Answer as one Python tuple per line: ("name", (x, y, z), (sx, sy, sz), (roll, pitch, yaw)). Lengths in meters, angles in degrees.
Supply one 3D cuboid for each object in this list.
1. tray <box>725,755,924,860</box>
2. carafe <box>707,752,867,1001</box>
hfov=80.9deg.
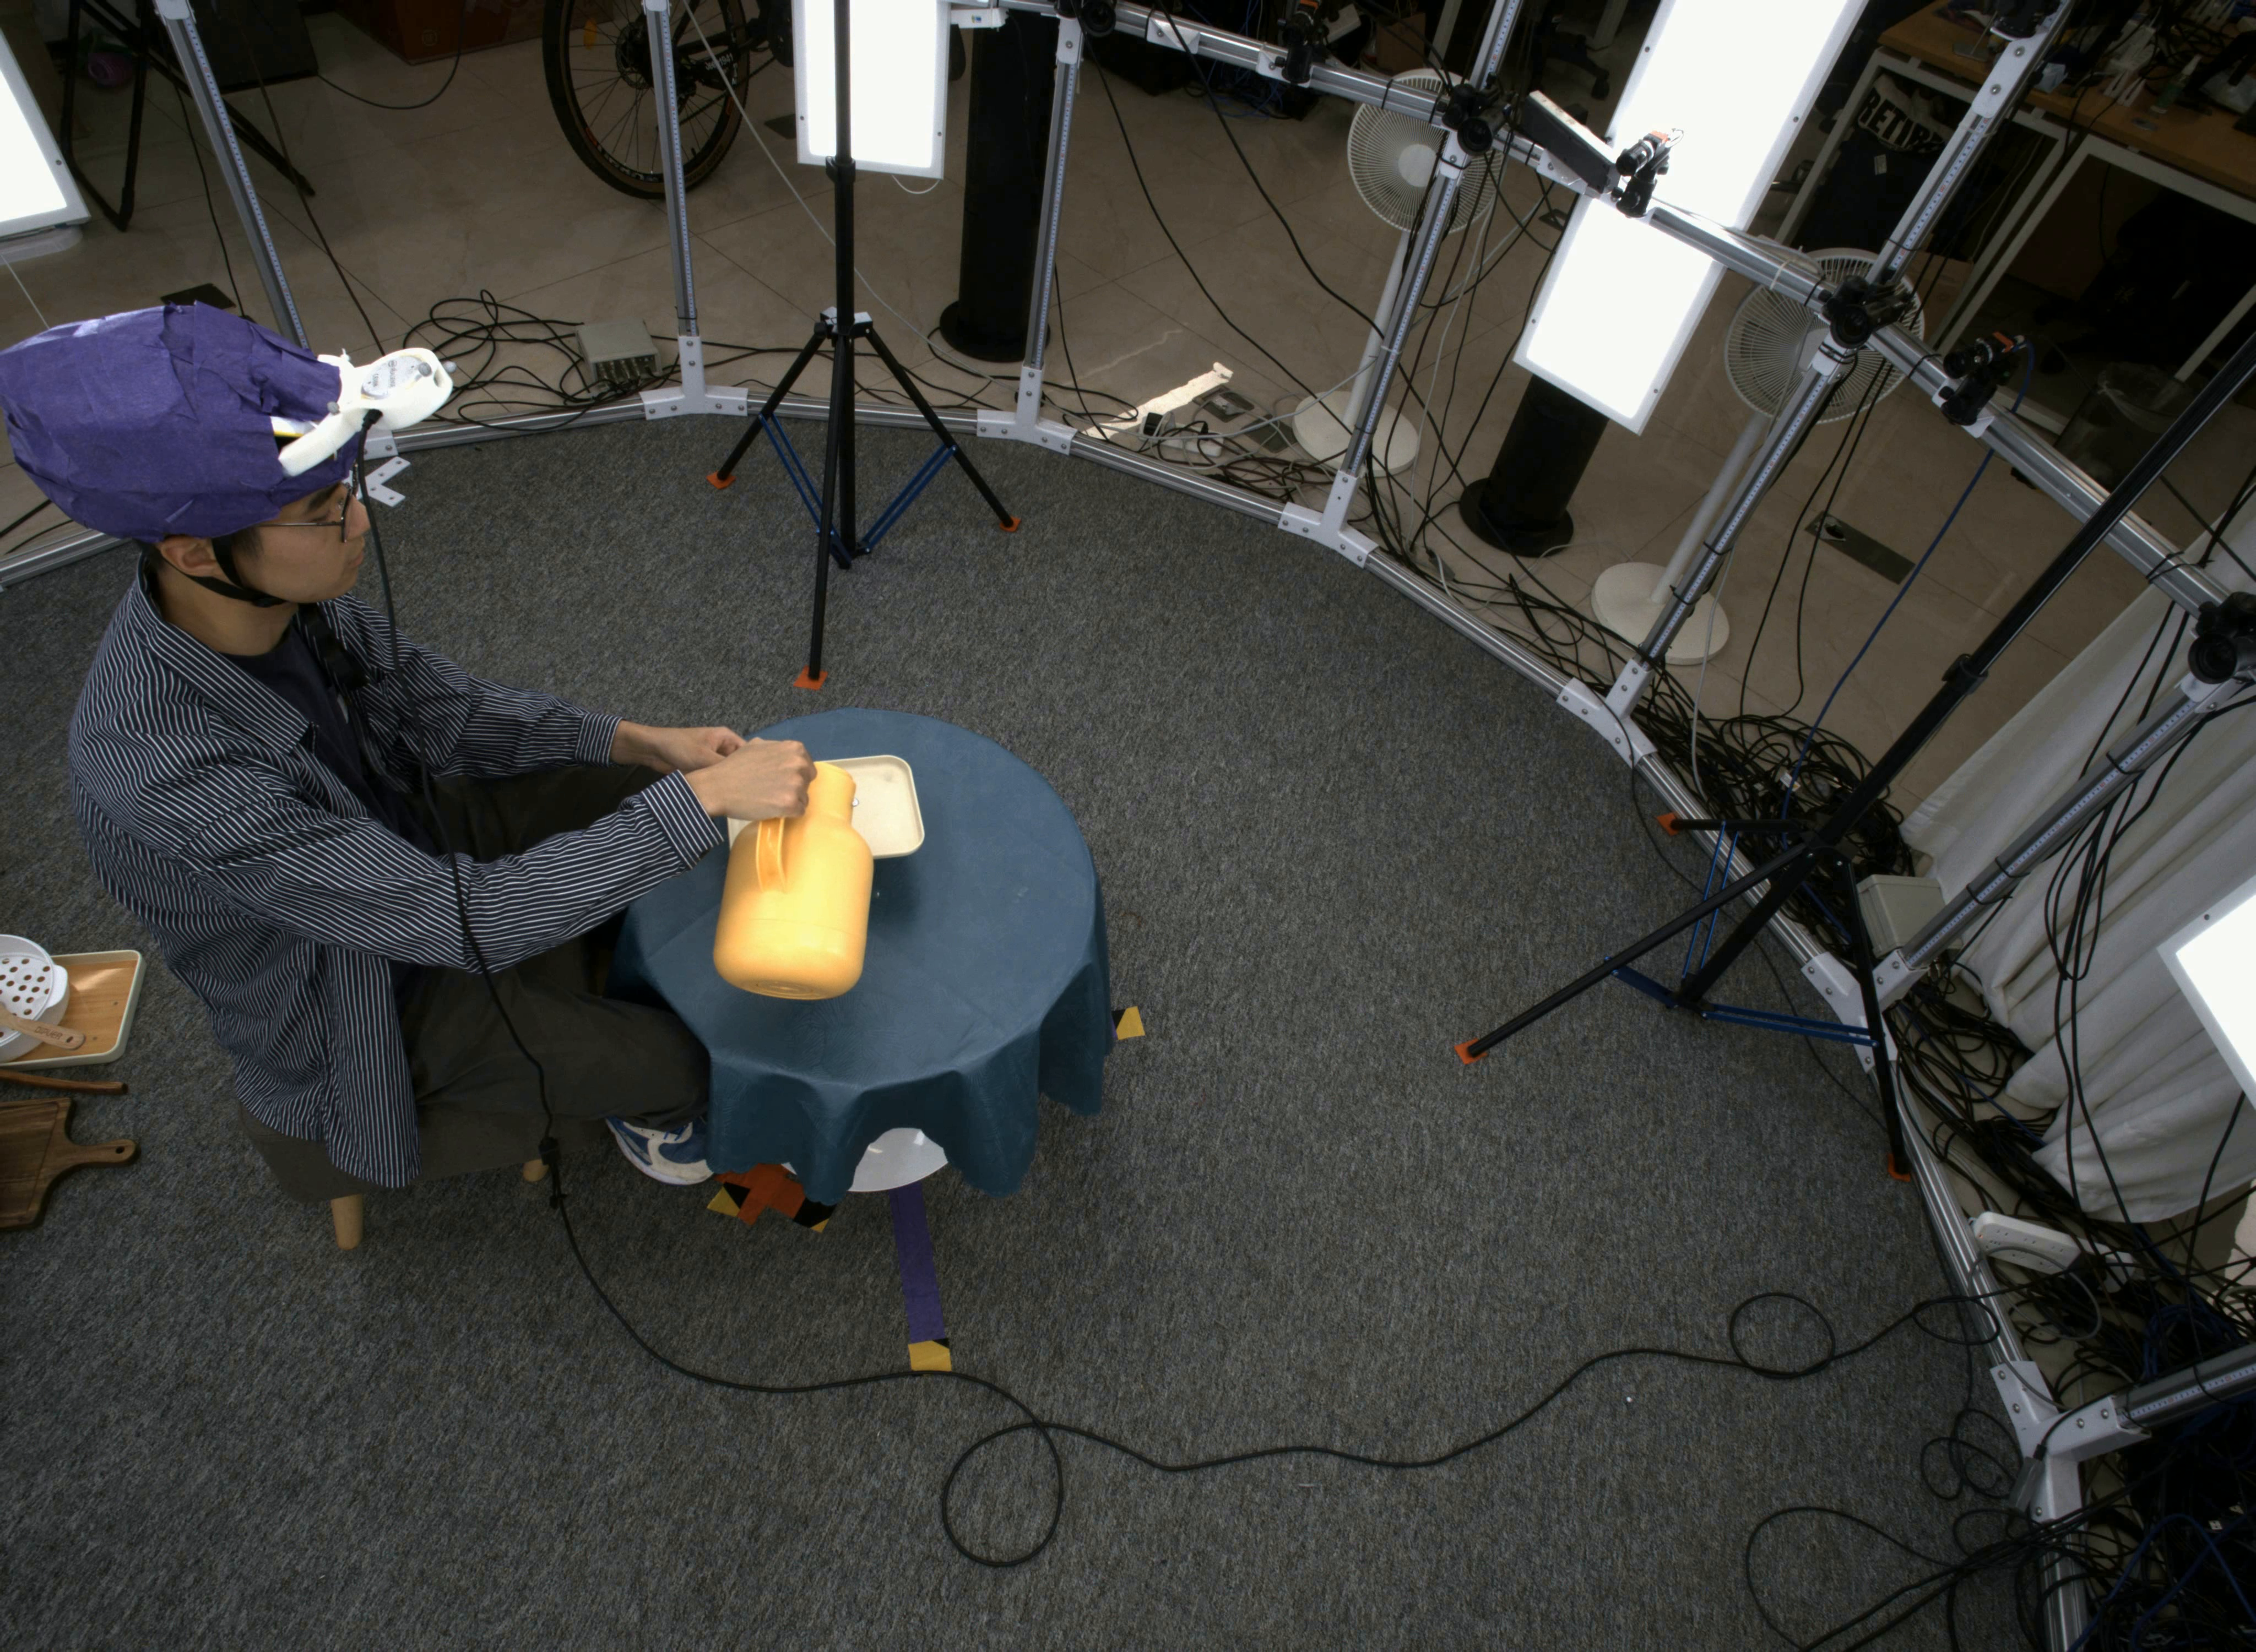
("tray", (-0.386, -0.017, 1.652), (0.240, 0.018, 0.167), (-6, 52, -17))
("carafe", (-0.380, 0.050, 1.446), (0.161, 0.205, 0.259), (2, 73, 1))
